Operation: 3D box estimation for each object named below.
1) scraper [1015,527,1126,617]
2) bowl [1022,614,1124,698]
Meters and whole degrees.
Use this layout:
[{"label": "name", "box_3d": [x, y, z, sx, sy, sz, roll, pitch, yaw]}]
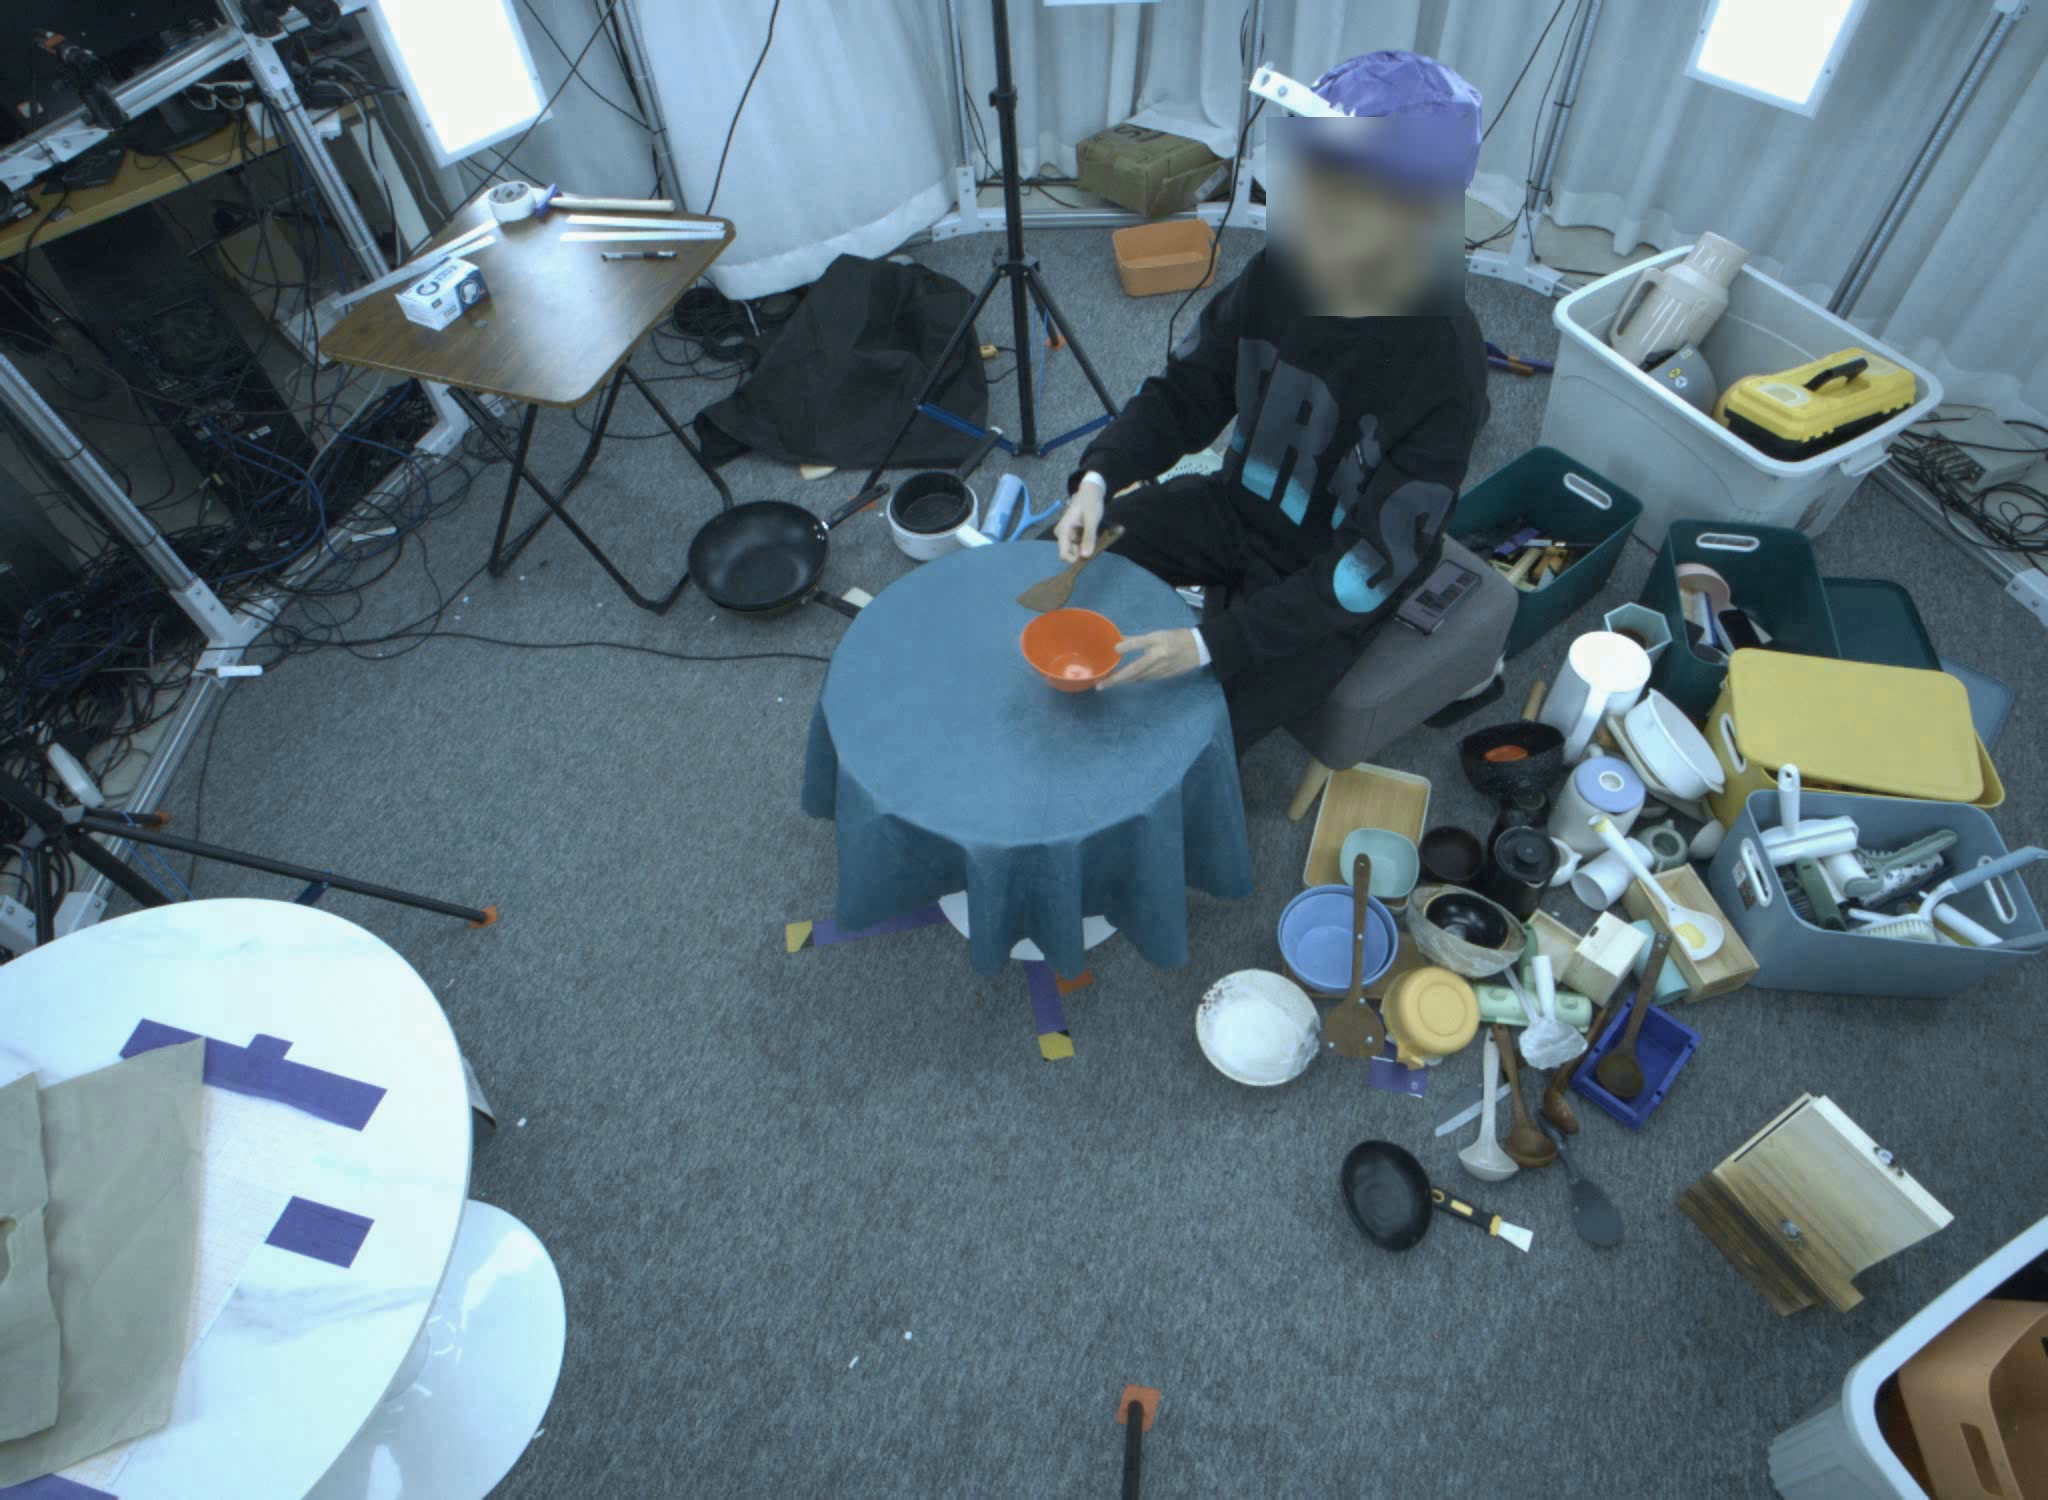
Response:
[{"label": "scraper", "box_3d": [0.077, -0.266, 1.815, 0.074, 0.011, 0.212, 28, 62, 35]}, {"label": "bowl", "box_3d": [0.070, -0.124, 1.802, 0.148, 0.105, 0.146, 2, 58, -1]}]
